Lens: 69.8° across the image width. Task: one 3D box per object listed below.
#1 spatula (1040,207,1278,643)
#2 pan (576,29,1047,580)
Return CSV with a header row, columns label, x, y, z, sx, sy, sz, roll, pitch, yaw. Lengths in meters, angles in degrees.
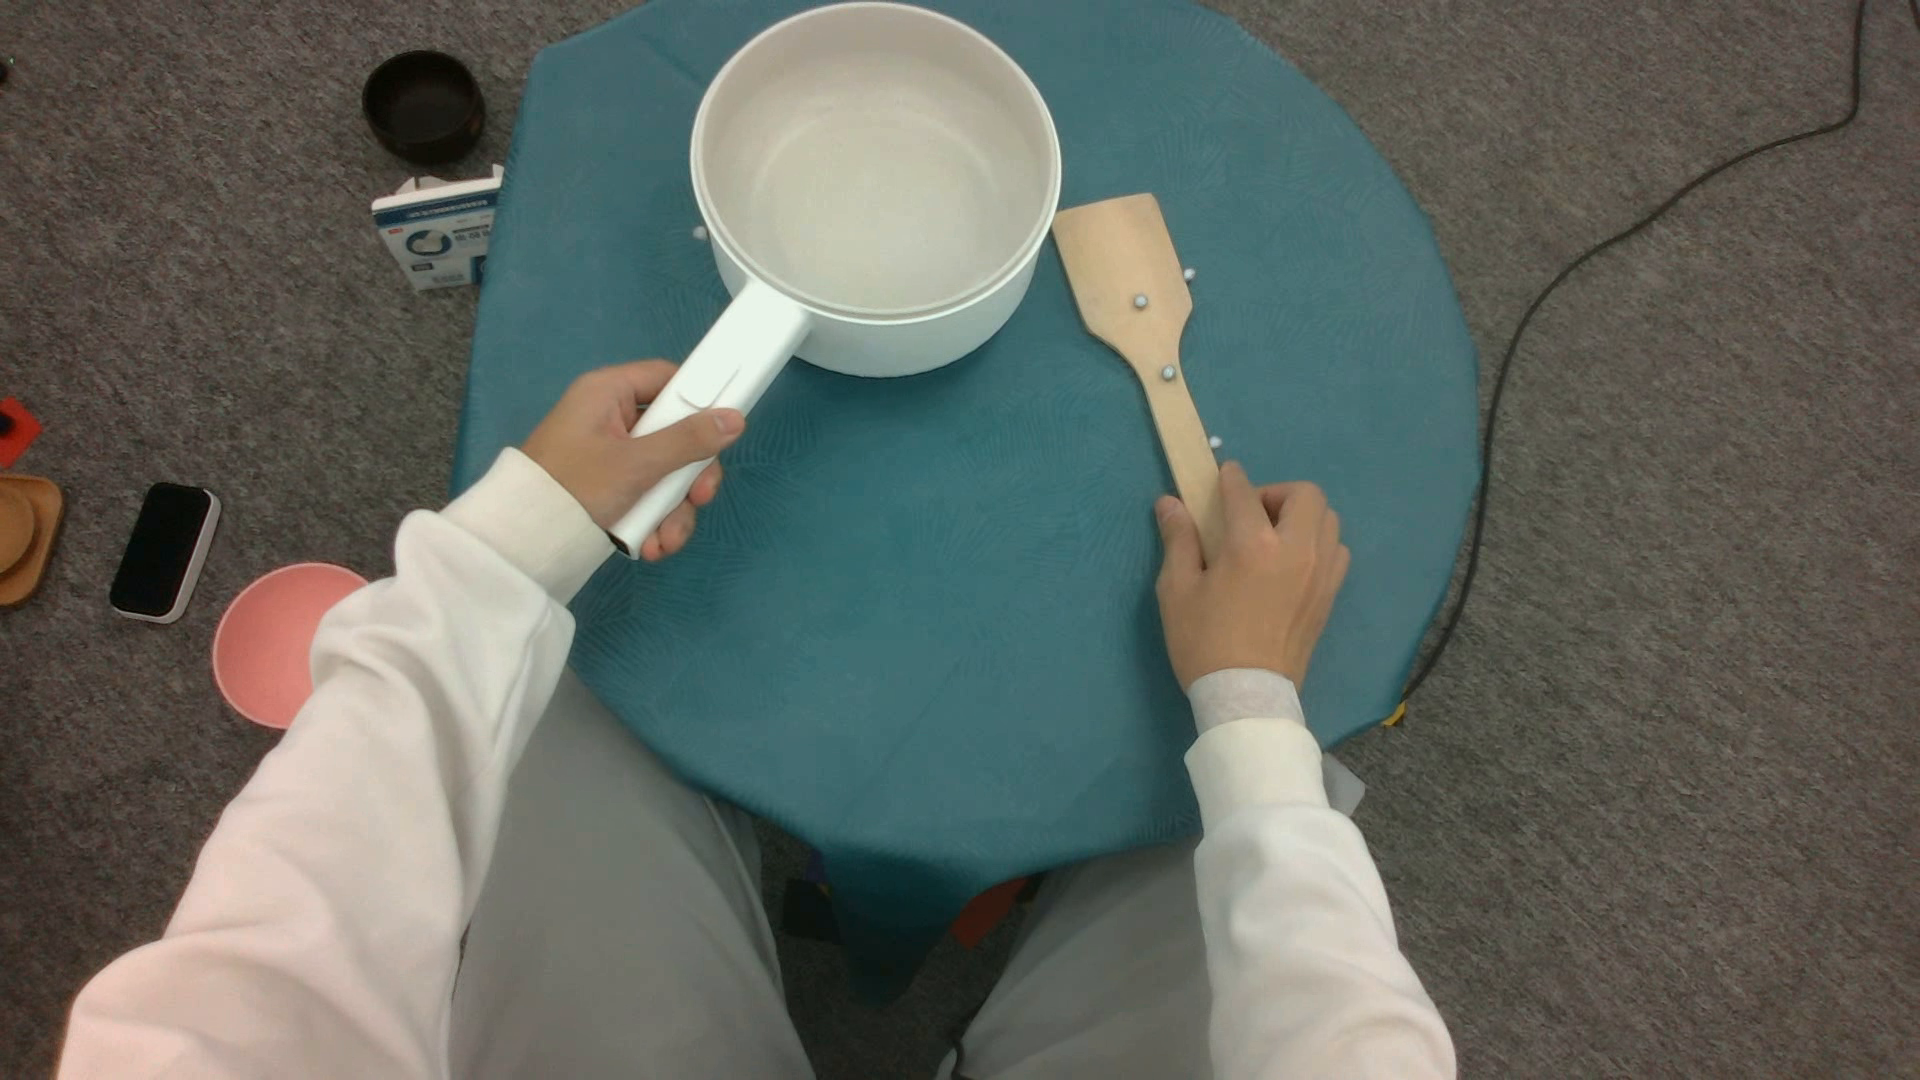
label,x,y,z,sx,sy,sz,roll,pitch,yaw
spatula,0.126,-0.074,0.823,0.072,0.010,0.293,-15,70,-9
pan,-0.091,-0.124,0.784,0.201,0.102,0.356,29,72,6
